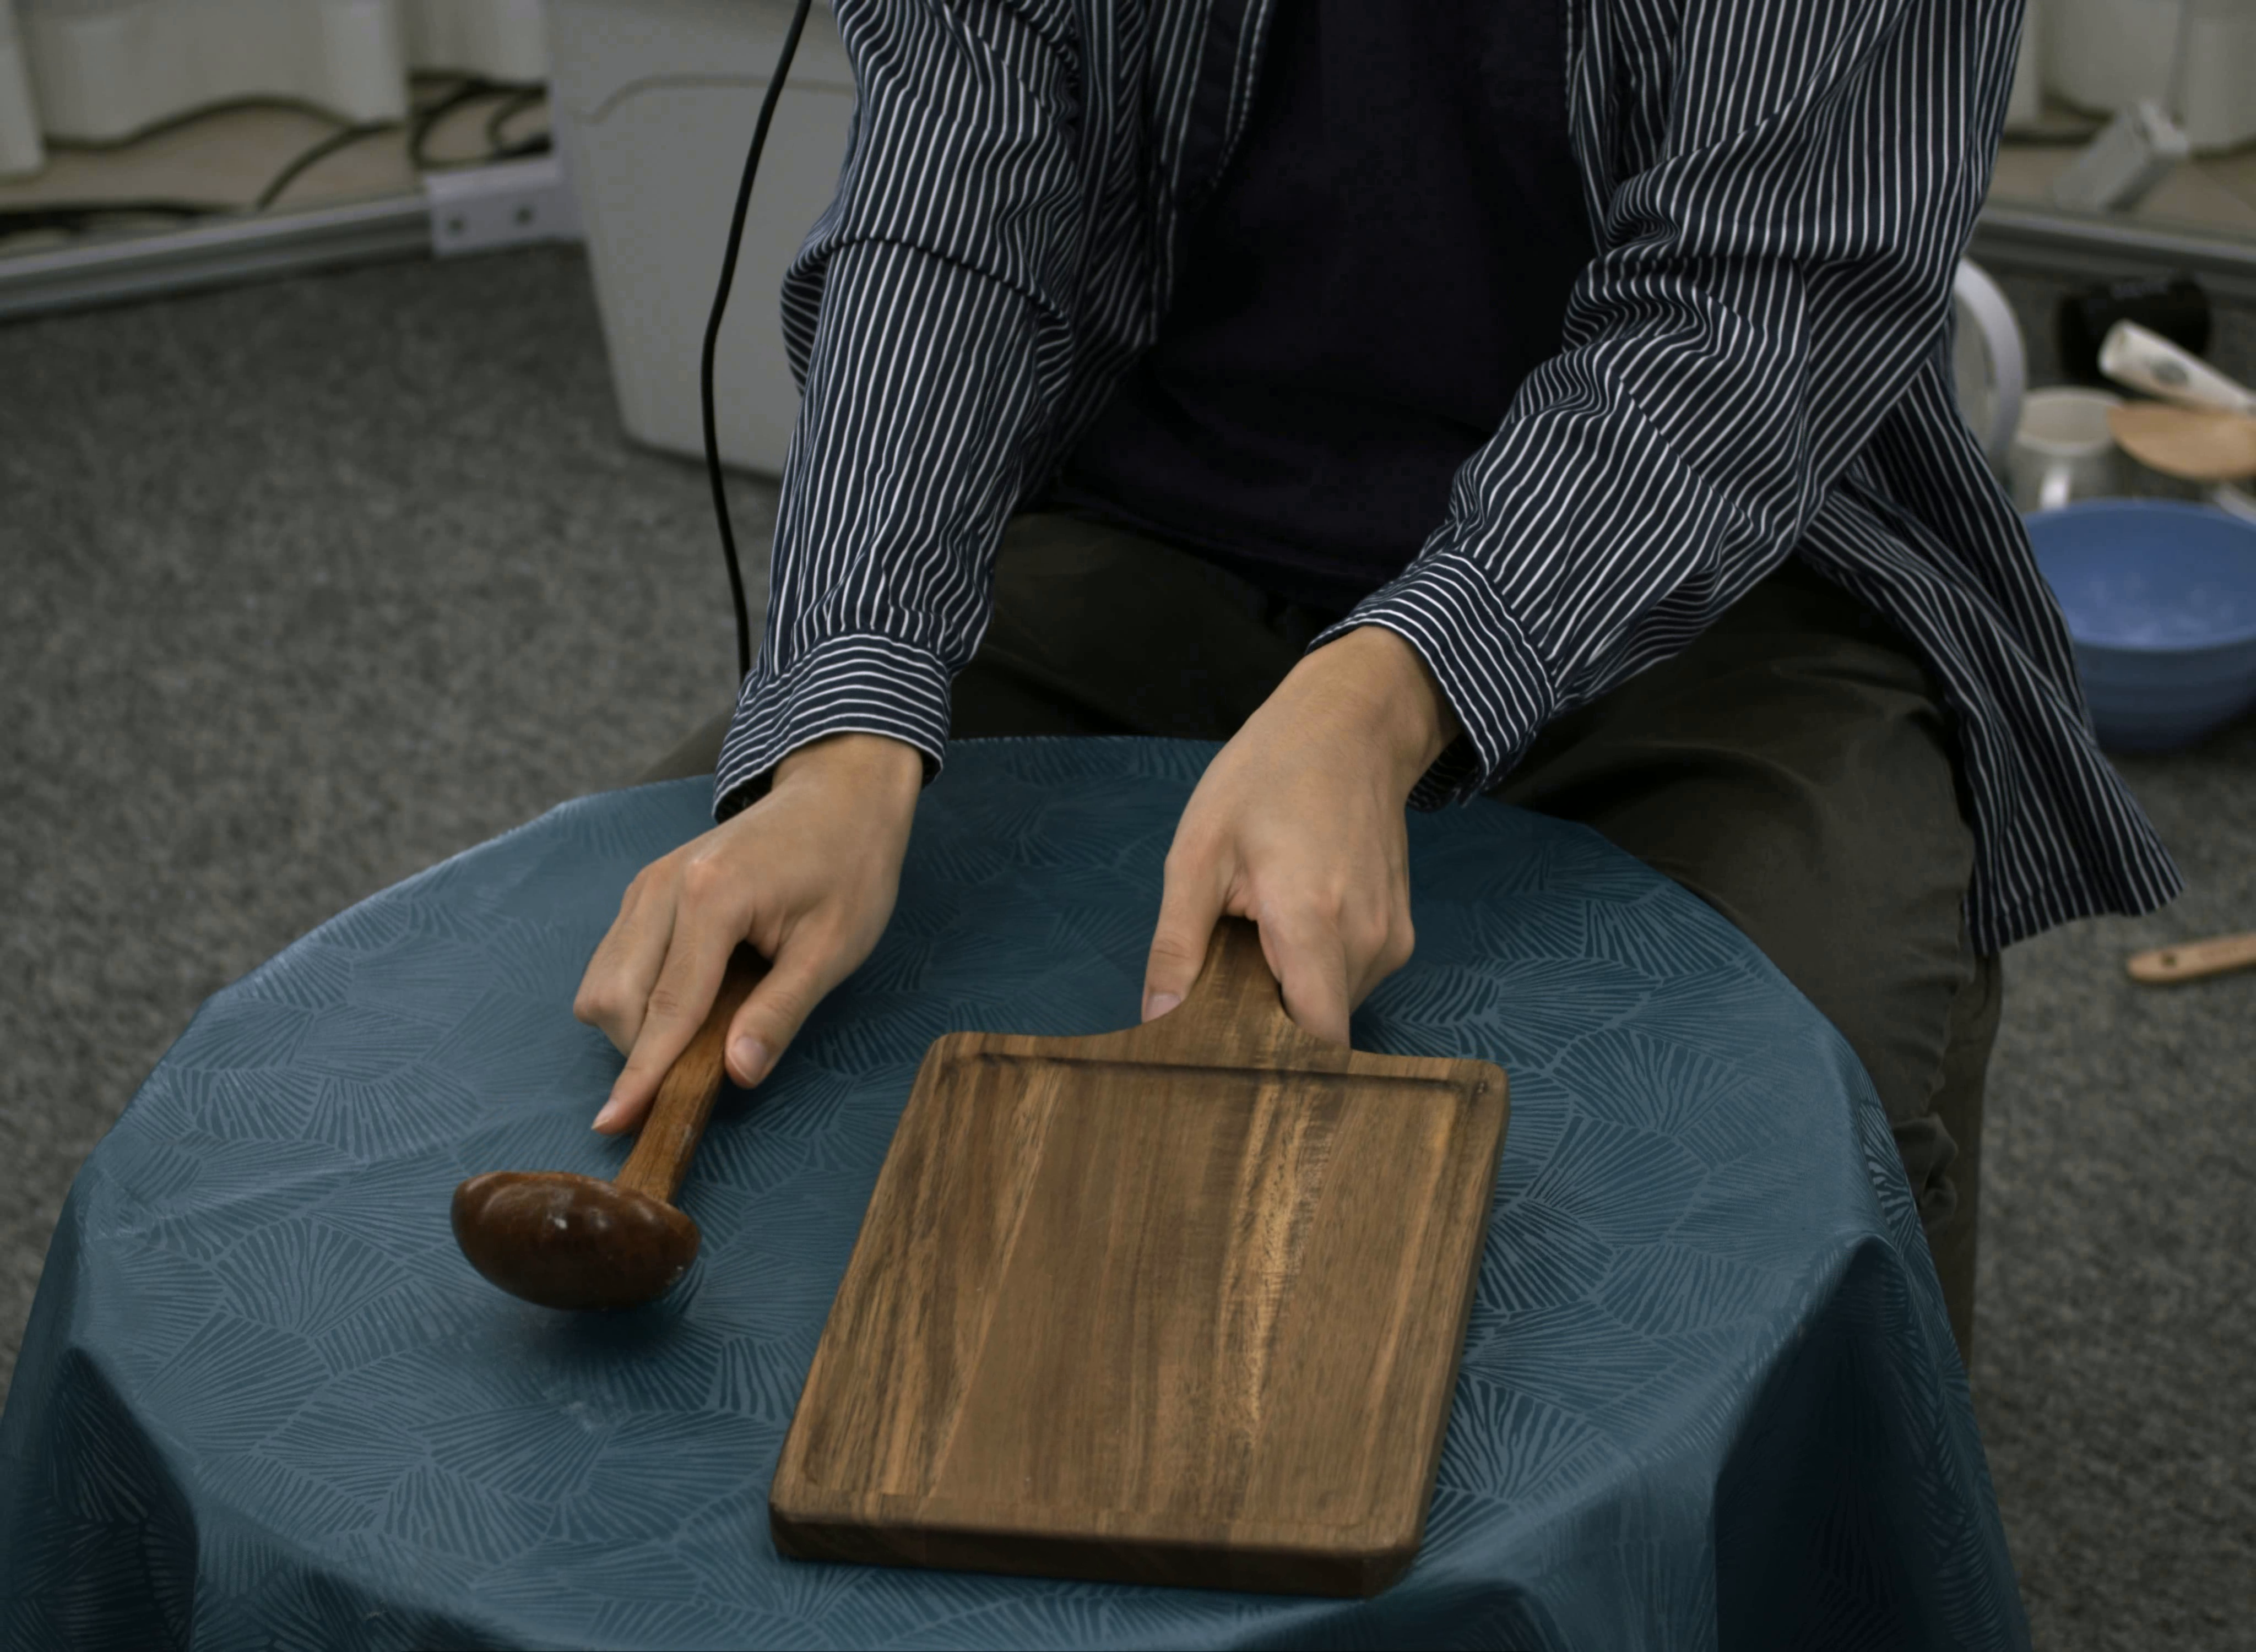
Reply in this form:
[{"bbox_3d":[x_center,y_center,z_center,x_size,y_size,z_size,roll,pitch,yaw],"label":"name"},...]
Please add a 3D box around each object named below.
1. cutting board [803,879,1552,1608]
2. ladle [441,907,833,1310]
[{"bbox_3d":[0.030,0.122,1.796,0.200,0.023,0.359,3,33,11],"label":"cutting board"},{"bbox_3d":[-0.152,0.075,1.870,0.081,0.075,0.279,9,32,11],"label":"ladle"}]
